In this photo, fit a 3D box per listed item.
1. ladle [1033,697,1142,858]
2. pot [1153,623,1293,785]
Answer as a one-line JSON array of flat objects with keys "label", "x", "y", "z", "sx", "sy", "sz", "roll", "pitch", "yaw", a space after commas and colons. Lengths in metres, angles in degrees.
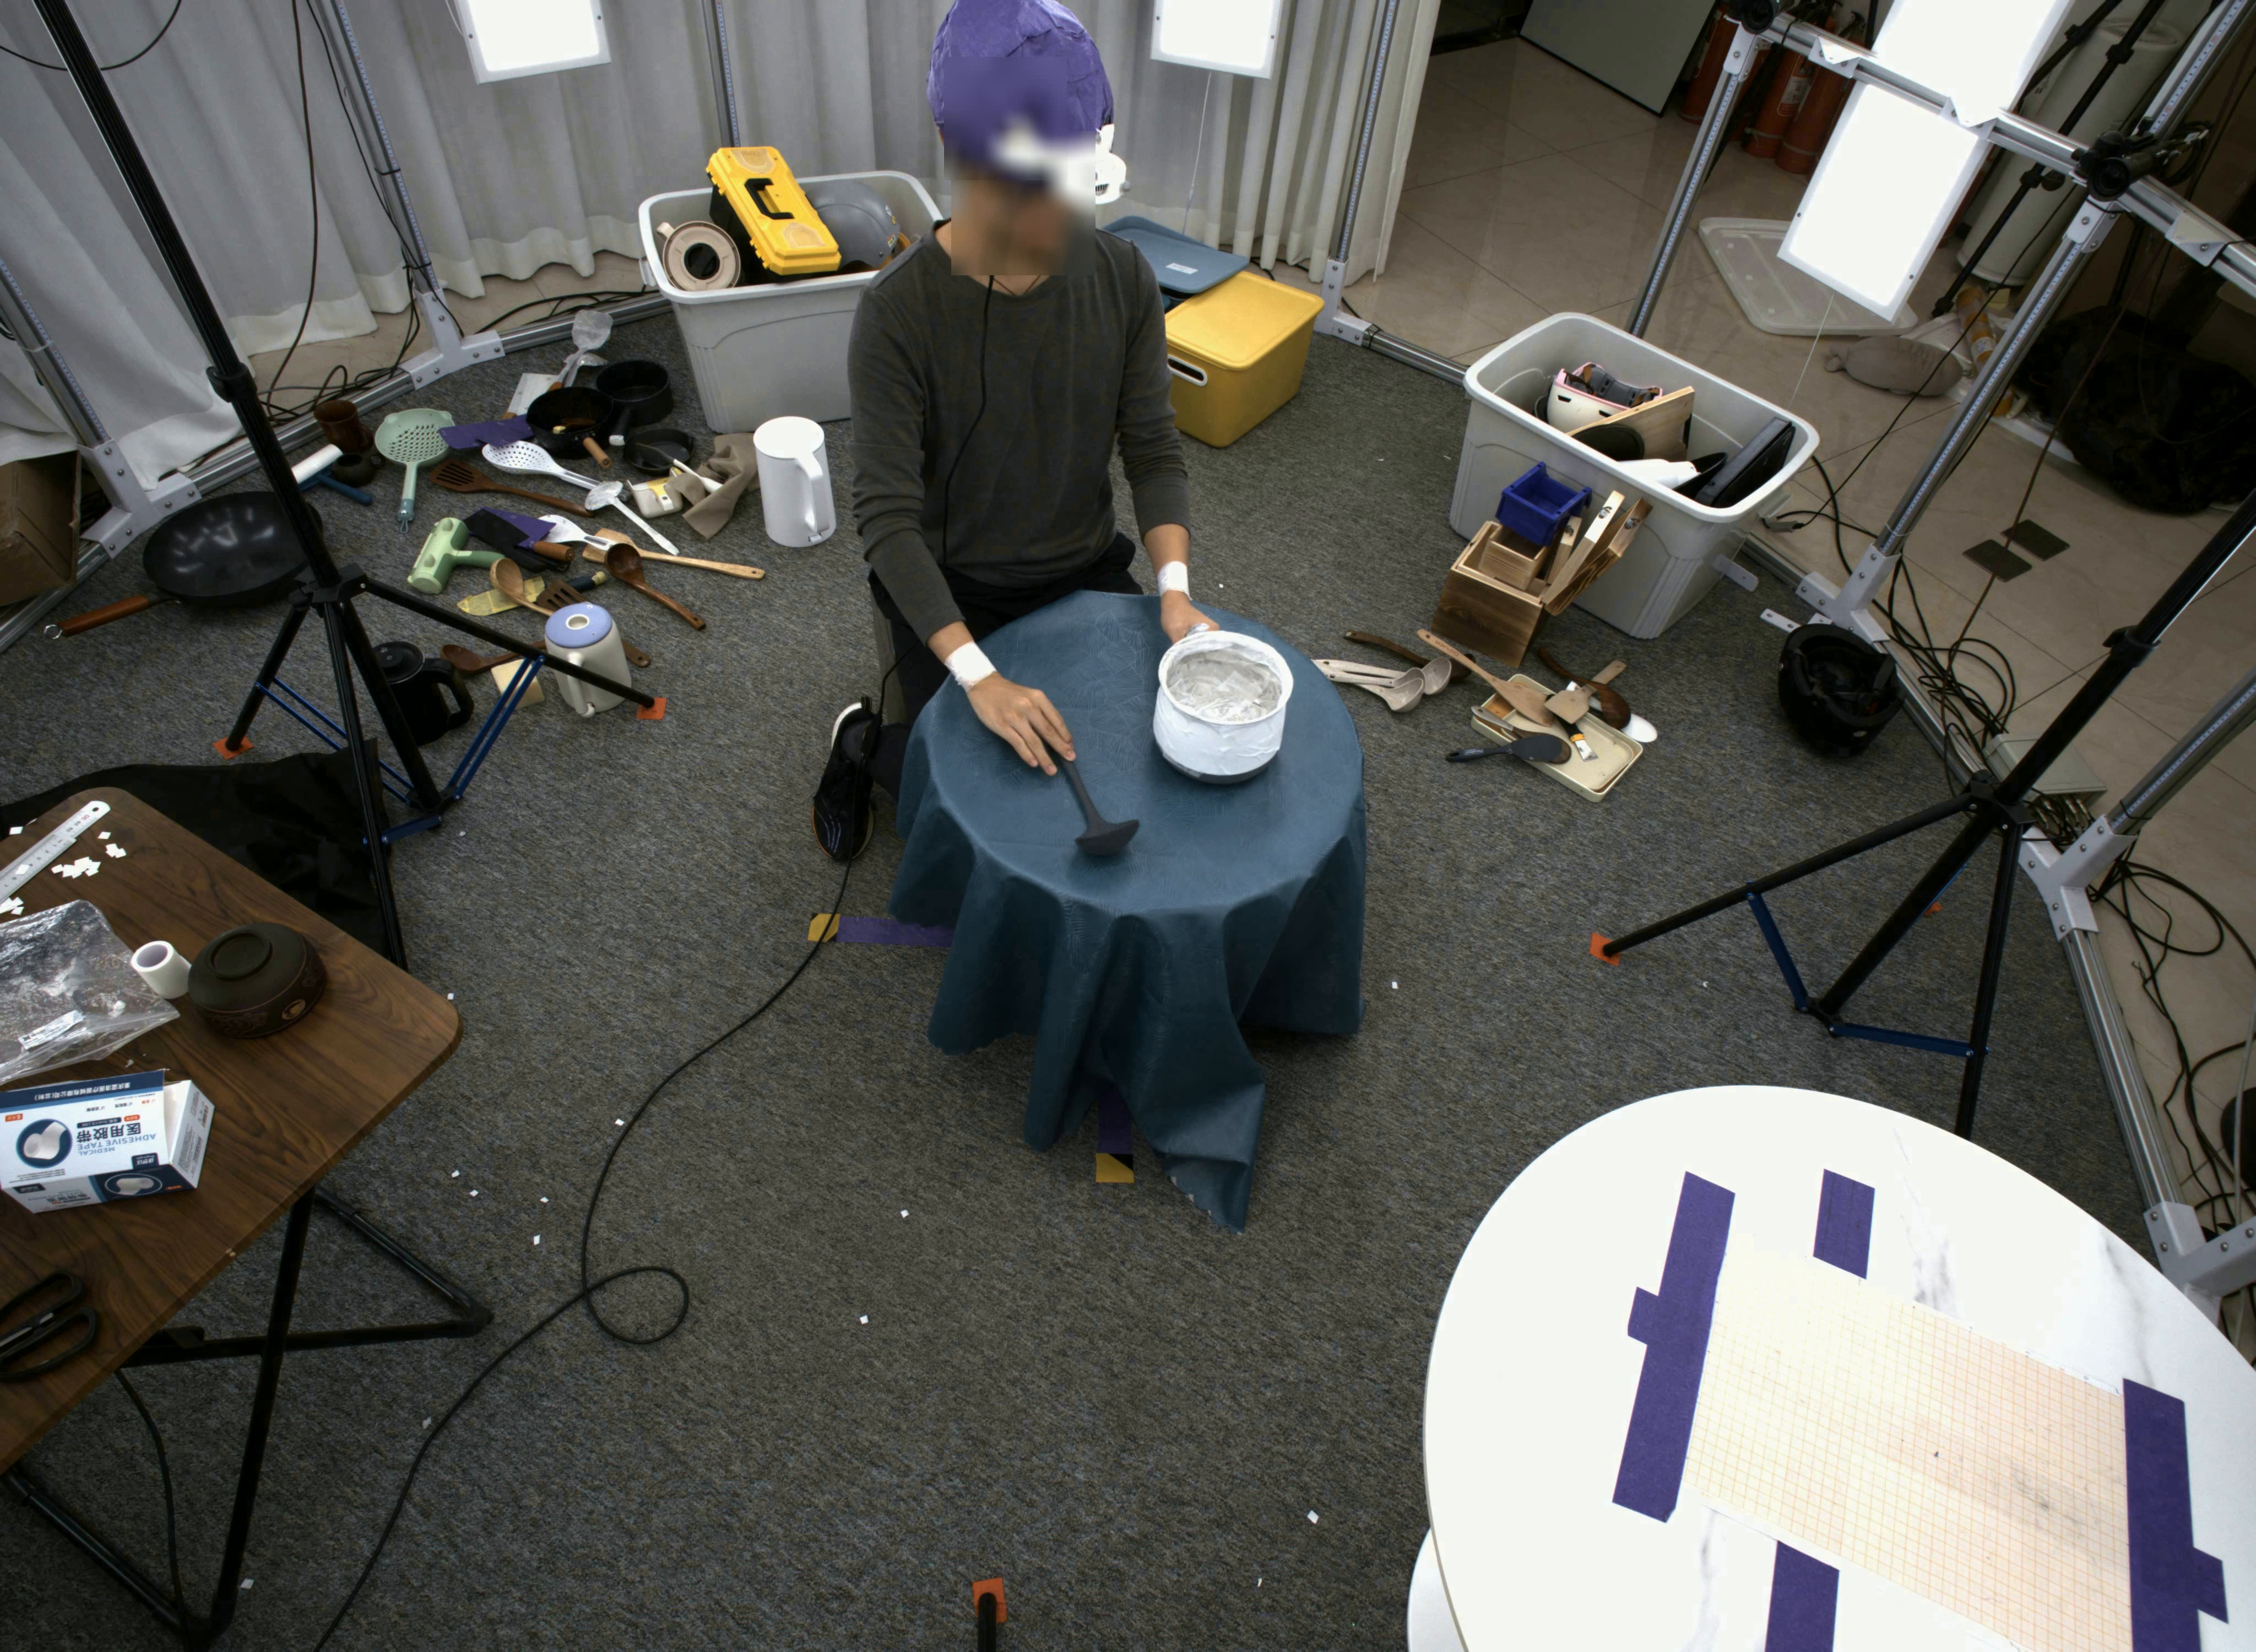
[{"label": "ladle", "x": -0.070, "y": -0.080, "z": 1.691, "sx": 0.086, "sy": 0.062, "sz": 0.321, "roll": -12, "pitch": 51, "yaw": -17}, {"label": "pot", "x": 0.116, "y": -0.175, "z": 1.739, "sx": 0.178, "sy": 0.133, "sz": 0.239, "roll": -10, "pitch": 51, "yaw": -13}]
